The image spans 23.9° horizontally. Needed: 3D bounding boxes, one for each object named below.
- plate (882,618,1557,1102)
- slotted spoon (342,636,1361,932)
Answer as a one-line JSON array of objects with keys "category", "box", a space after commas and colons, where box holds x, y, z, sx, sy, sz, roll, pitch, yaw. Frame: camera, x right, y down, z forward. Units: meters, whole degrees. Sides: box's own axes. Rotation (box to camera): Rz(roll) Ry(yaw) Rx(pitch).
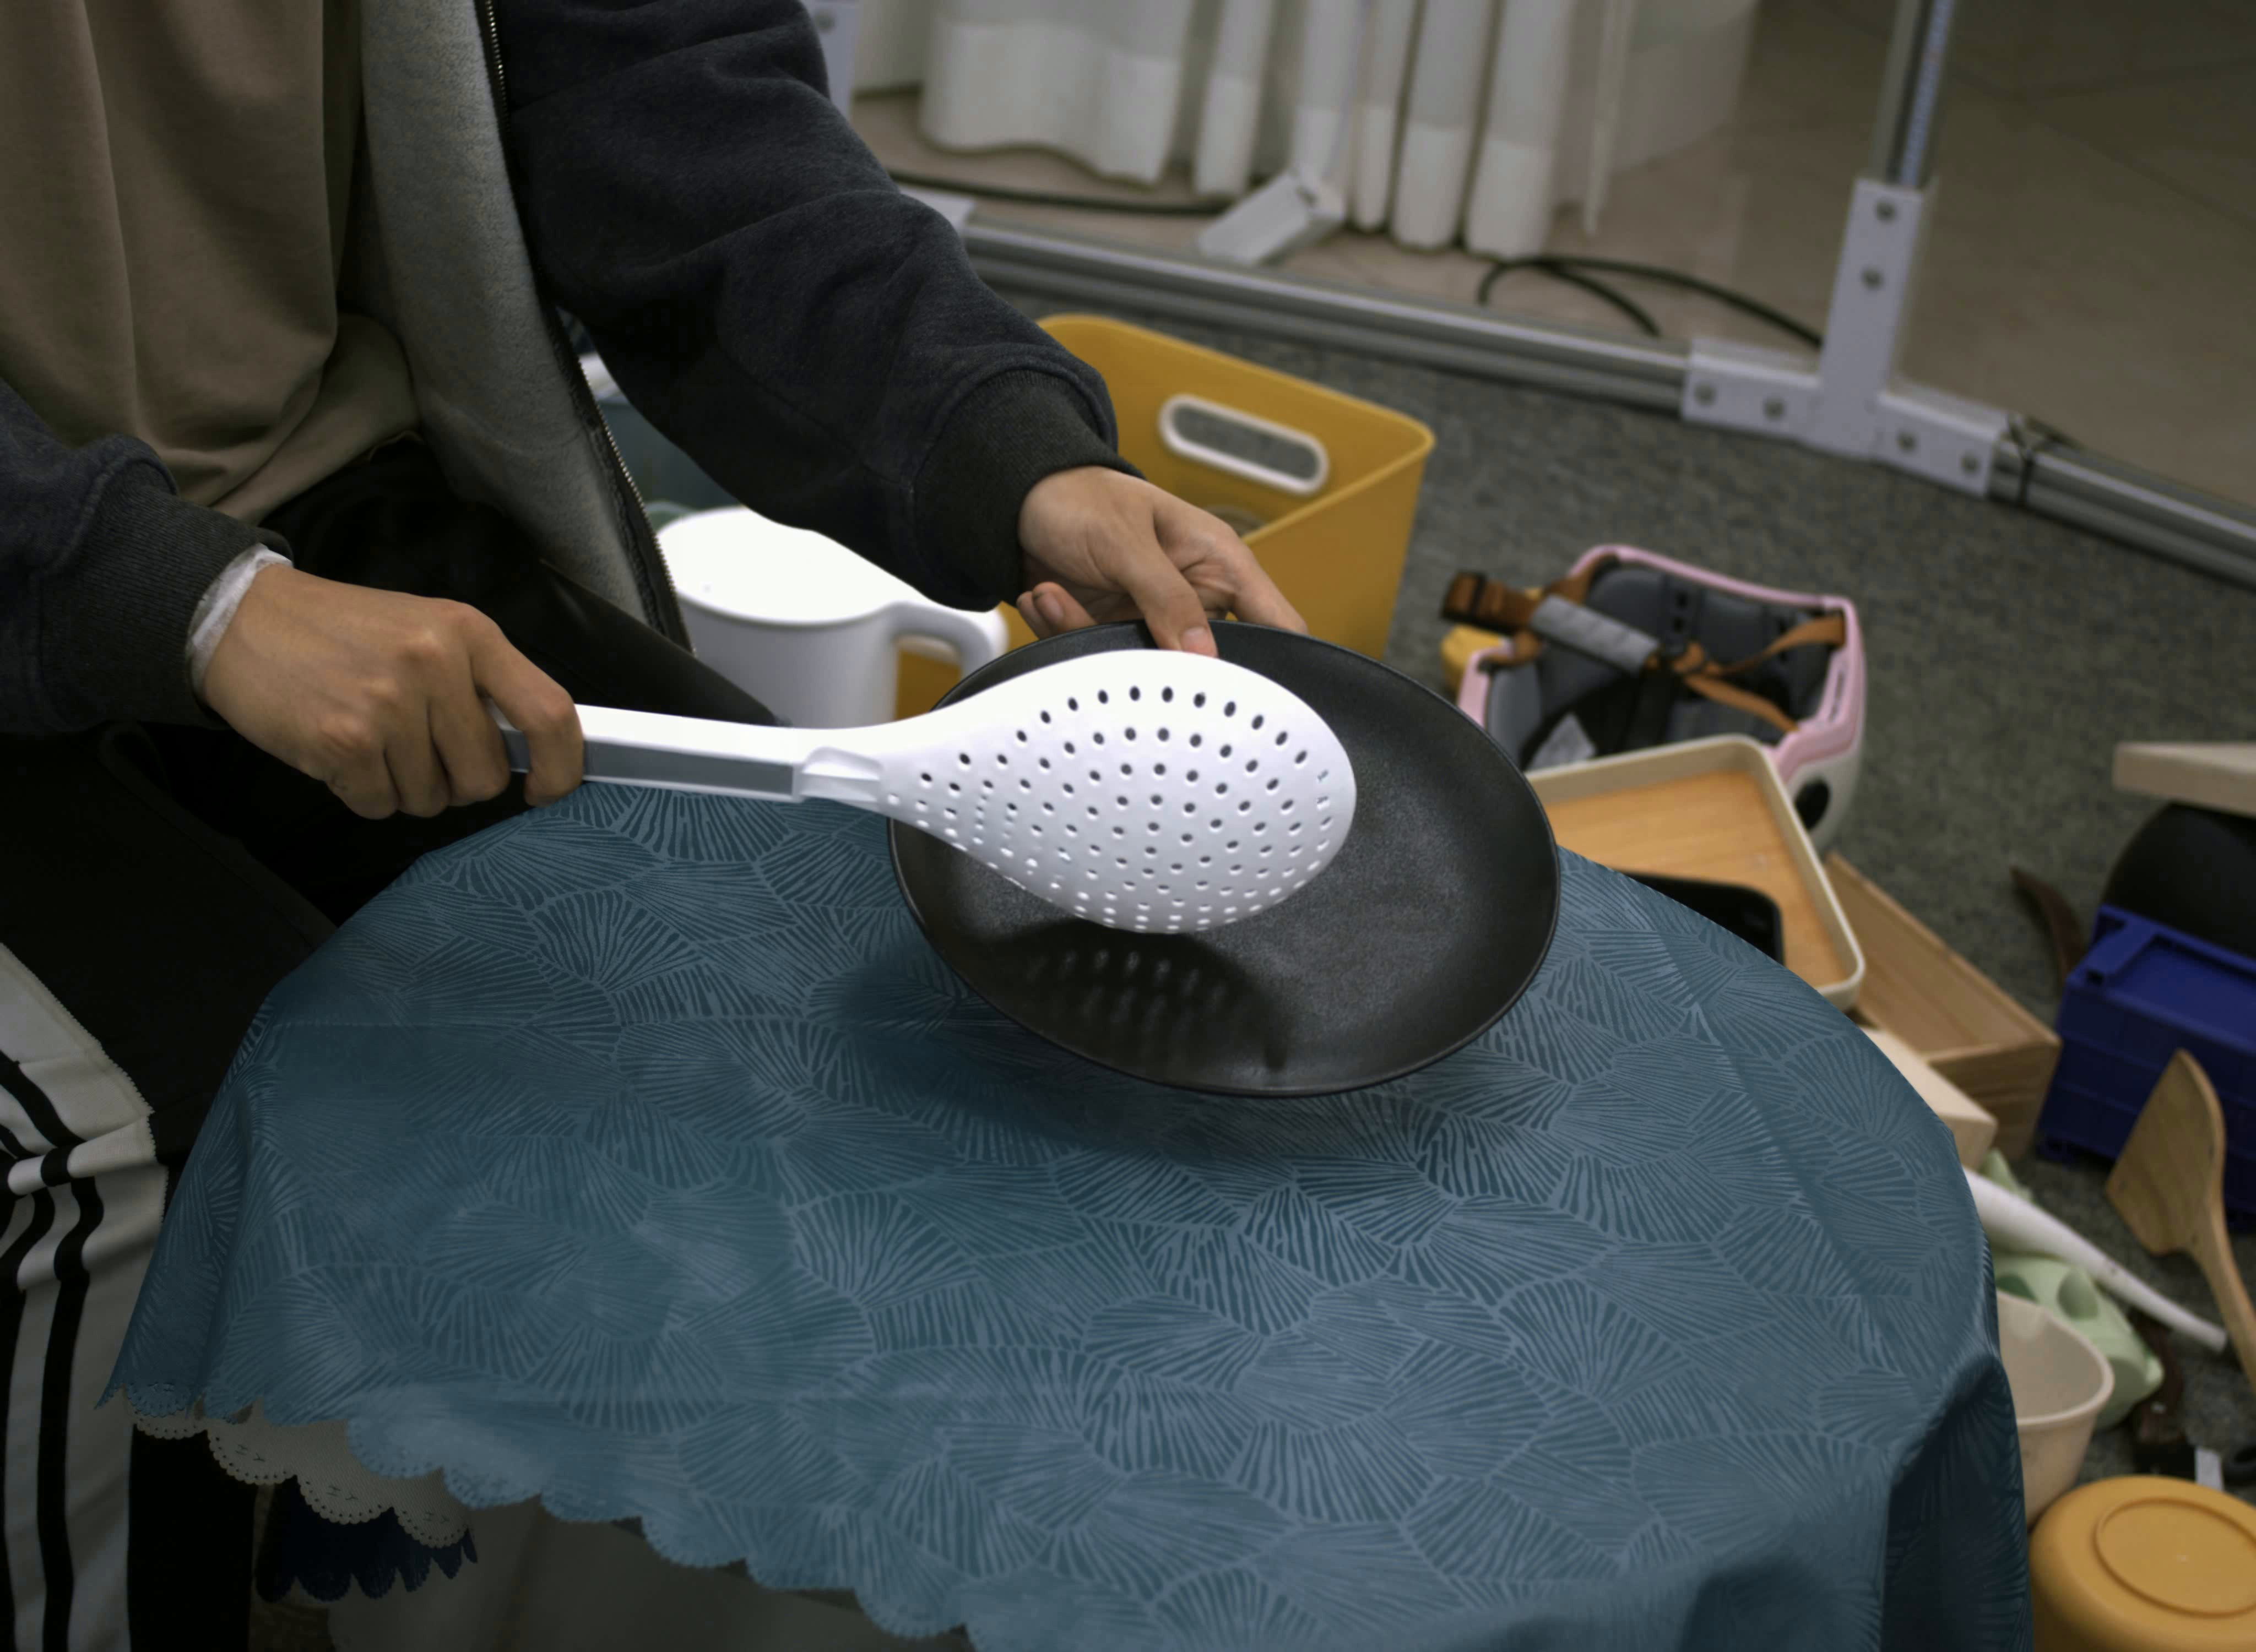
[{"category": "plate", "box": [0.032, 0.014, 1.901, 0.243, 0.023, 0.246, 5, 43, -5]}, {"category": "slotted spoon", "box": [-0.096, -0.021, 1.825, 0.349, 0.135, 0.046, 9, 45, 4]}]
